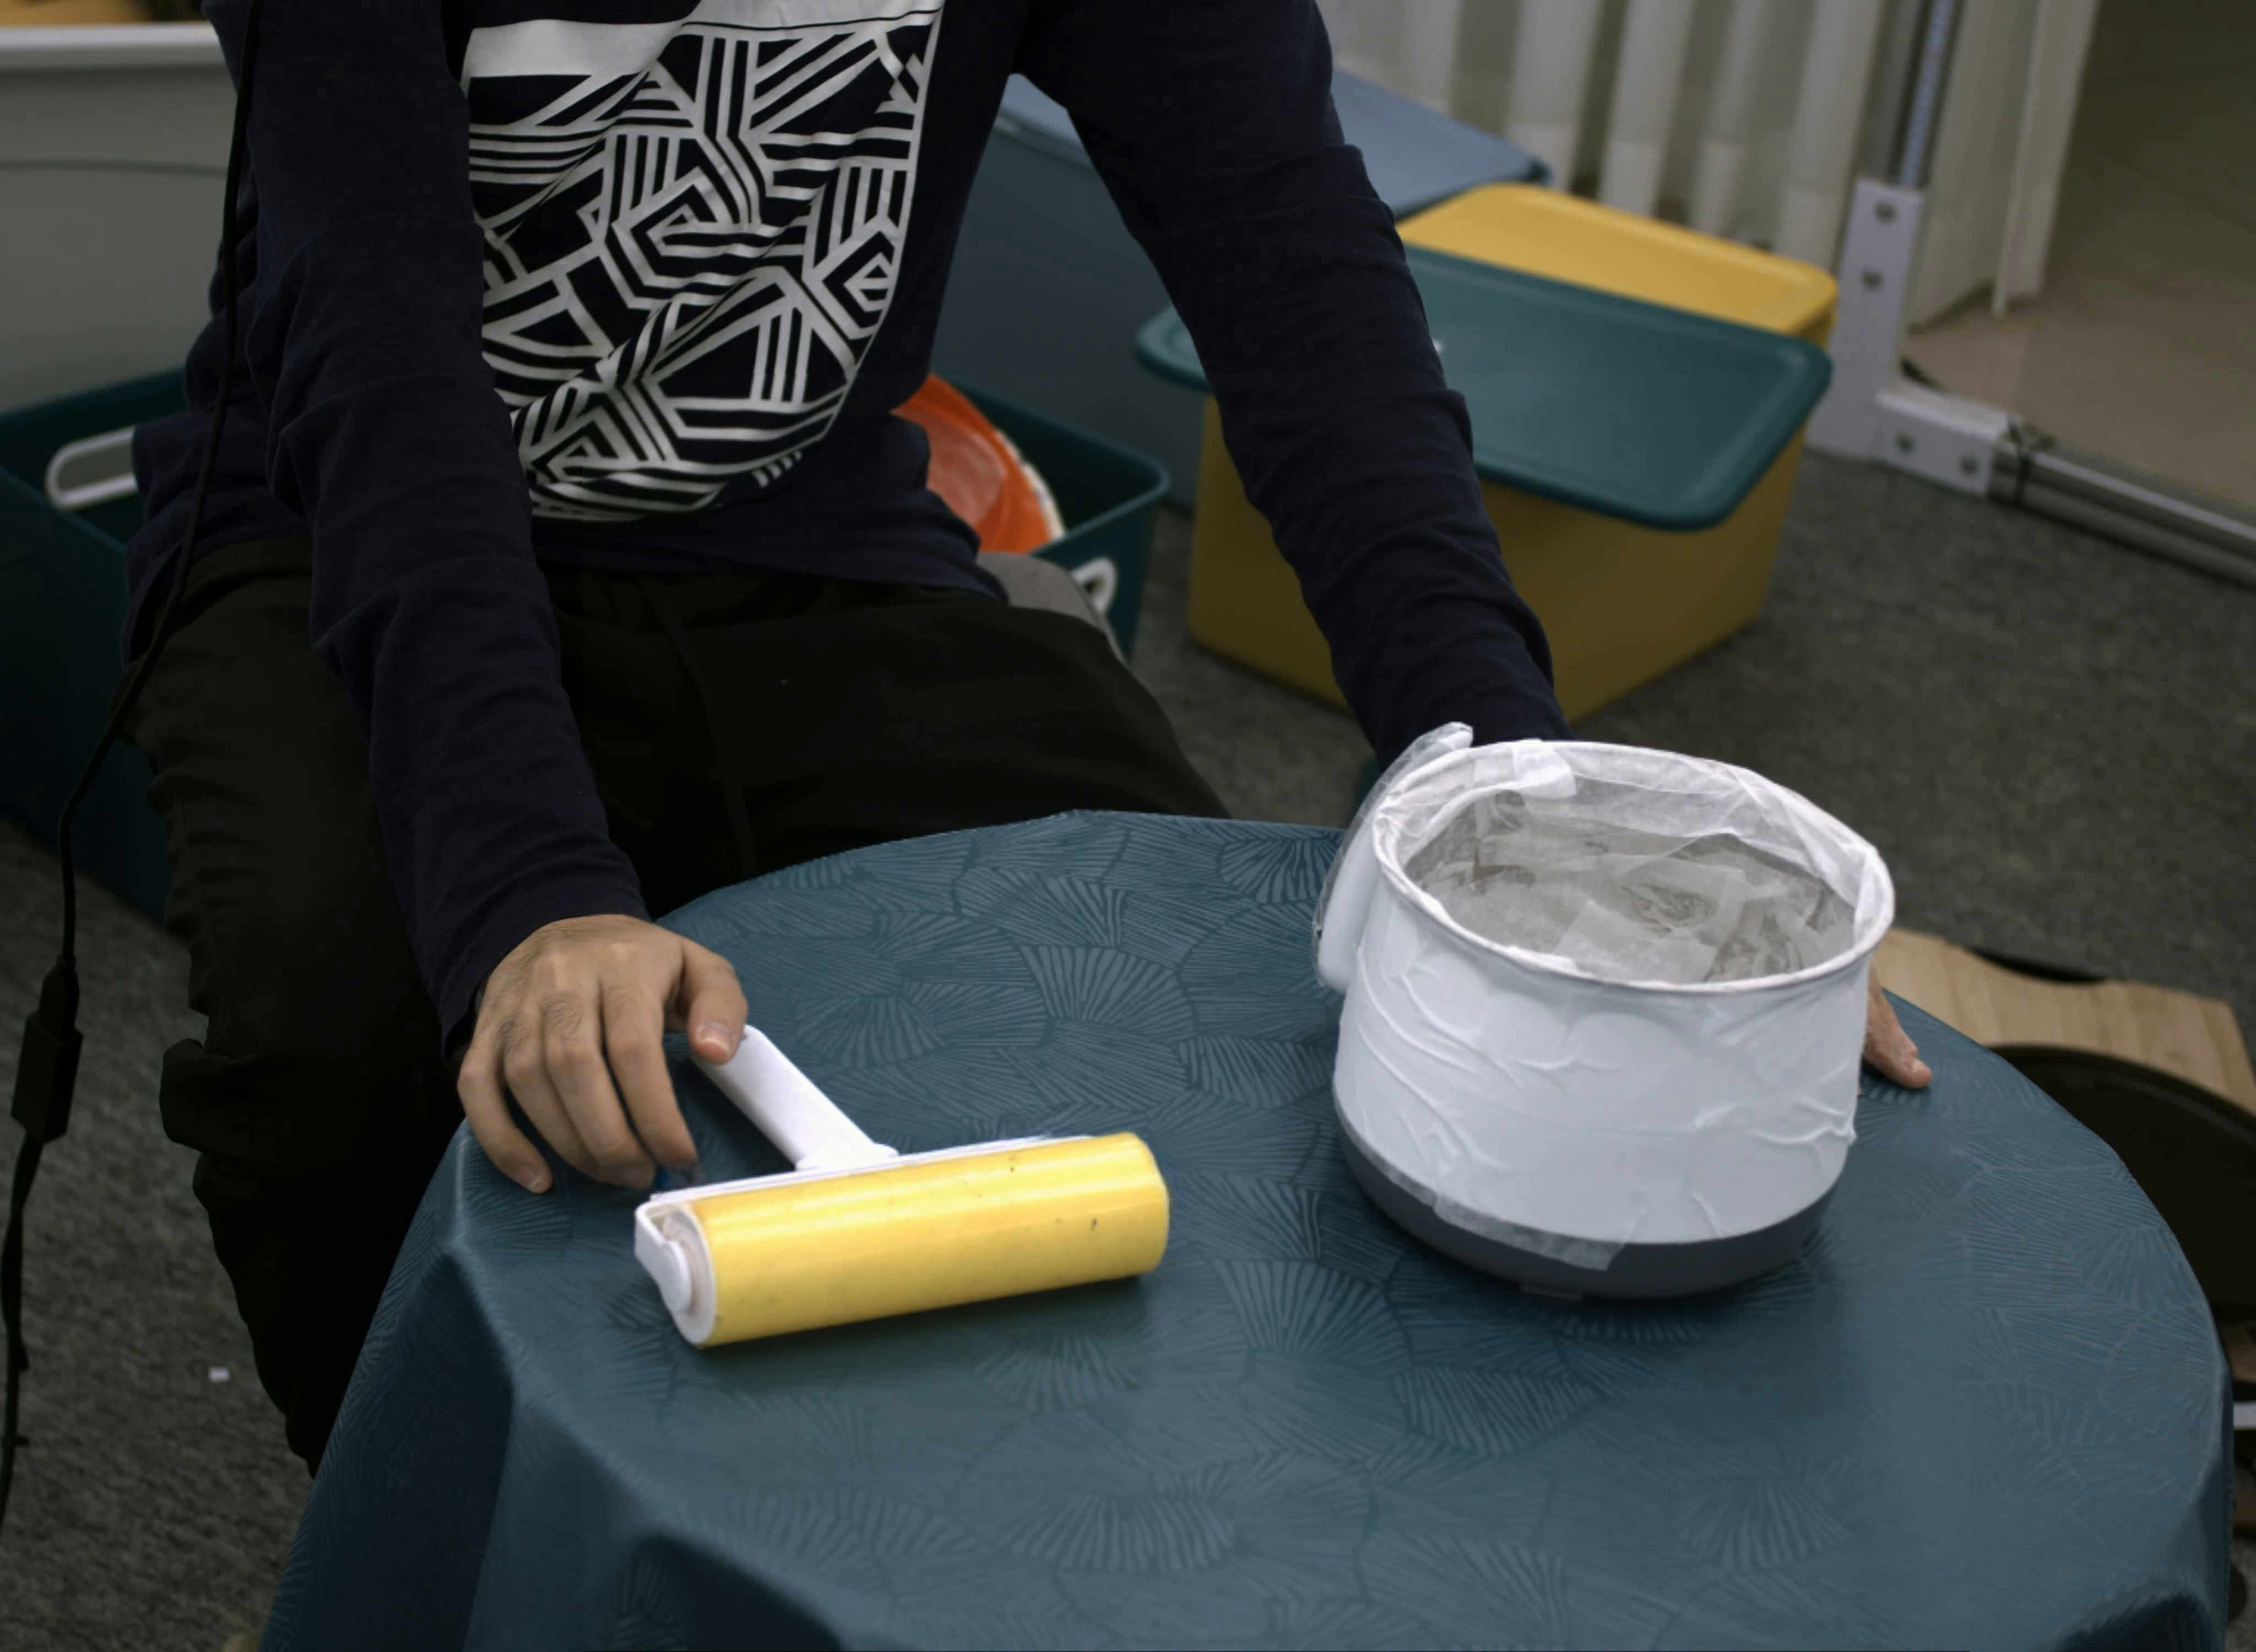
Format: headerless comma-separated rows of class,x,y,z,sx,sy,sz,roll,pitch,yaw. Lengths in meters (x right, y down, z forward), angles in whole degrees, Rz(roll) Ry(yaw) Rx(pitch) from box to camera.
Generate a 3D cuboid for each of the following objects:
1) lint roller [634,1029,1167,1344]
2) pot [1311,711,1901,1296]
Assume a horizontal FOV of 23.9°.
lint roller,-0.102,0.102,1.774,0.173,0.051,0.194,-7,31,-27
pot,0.146,0.053,1.821,0.177,0.136,0.236,-11,33,-35
